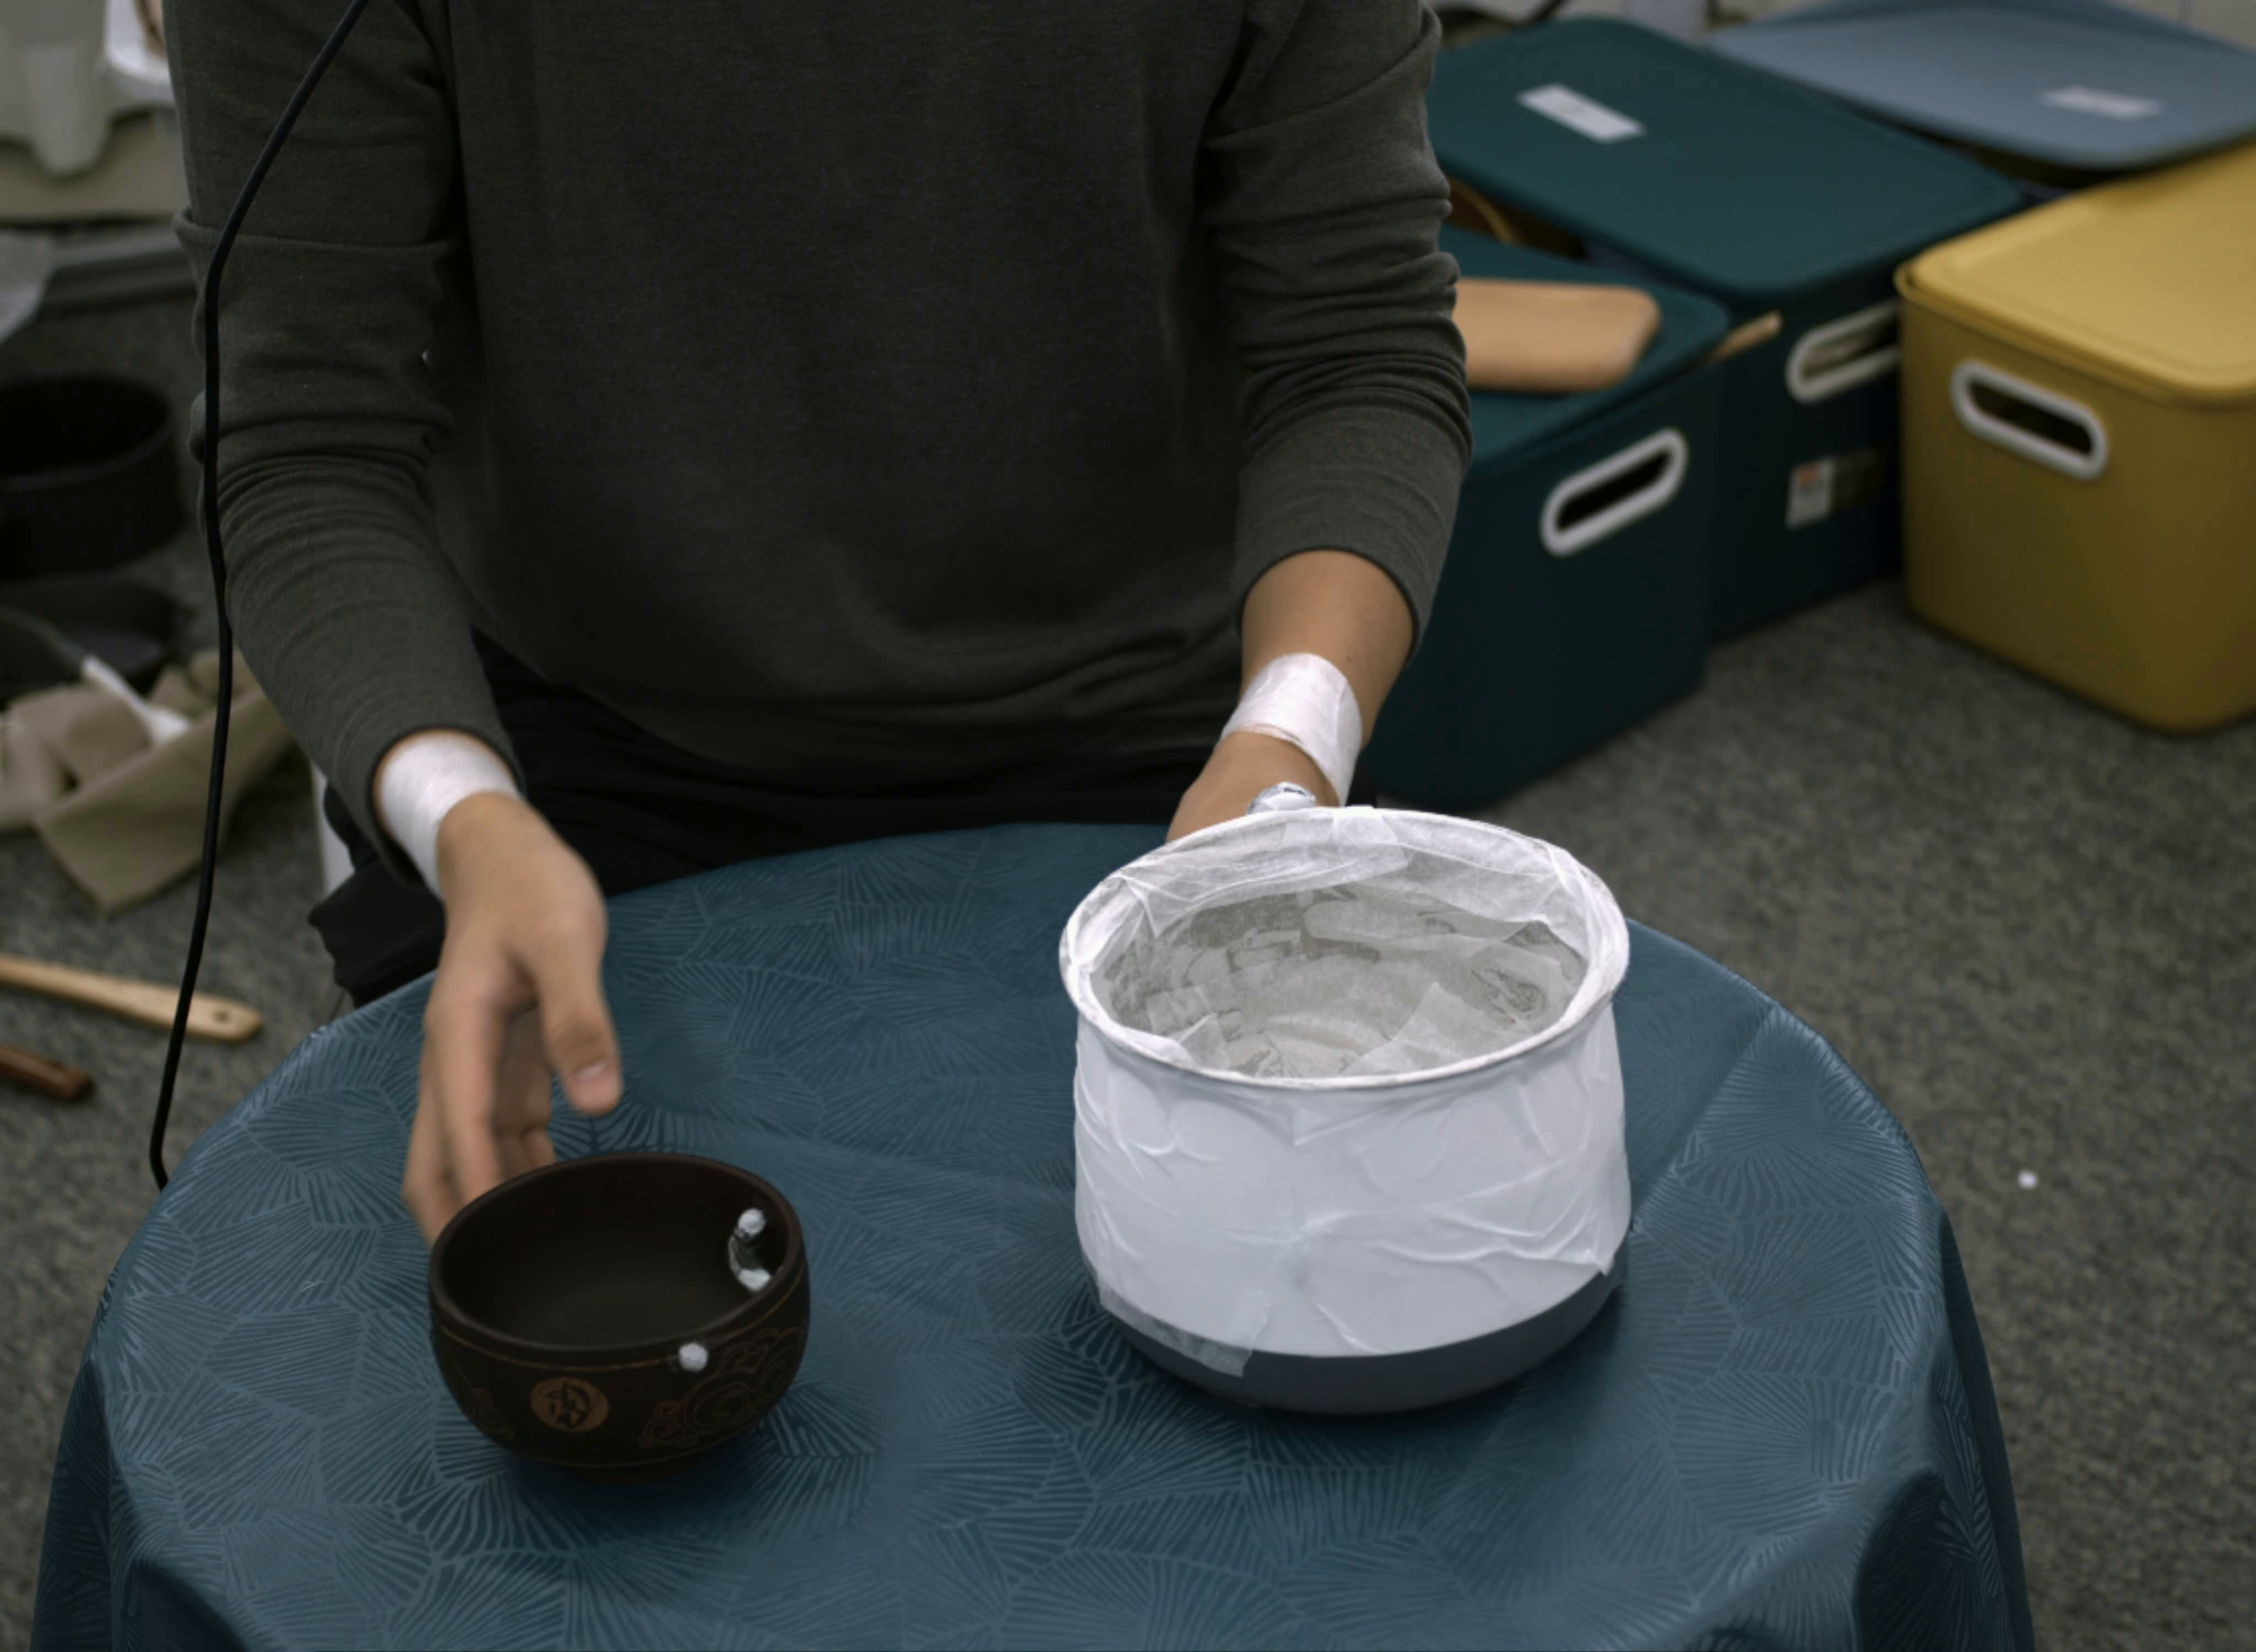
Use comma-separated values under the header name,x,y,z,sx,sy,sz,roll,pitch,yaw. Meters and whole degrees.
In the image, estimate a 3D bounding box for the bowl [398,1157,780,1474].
name,x,y,z,sx,sy,sz,roll,pitch,yaw
bowl,-0.165,0.158,1.739,0.117,0.069,0.119,-3,20,1

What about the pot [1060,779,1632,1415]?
name,x,y,z,sx,sy,sz,roll,pitch,yaw
pot,0.065,0.078,1.791,0.178,0.135,0.236,-7,27,-8
